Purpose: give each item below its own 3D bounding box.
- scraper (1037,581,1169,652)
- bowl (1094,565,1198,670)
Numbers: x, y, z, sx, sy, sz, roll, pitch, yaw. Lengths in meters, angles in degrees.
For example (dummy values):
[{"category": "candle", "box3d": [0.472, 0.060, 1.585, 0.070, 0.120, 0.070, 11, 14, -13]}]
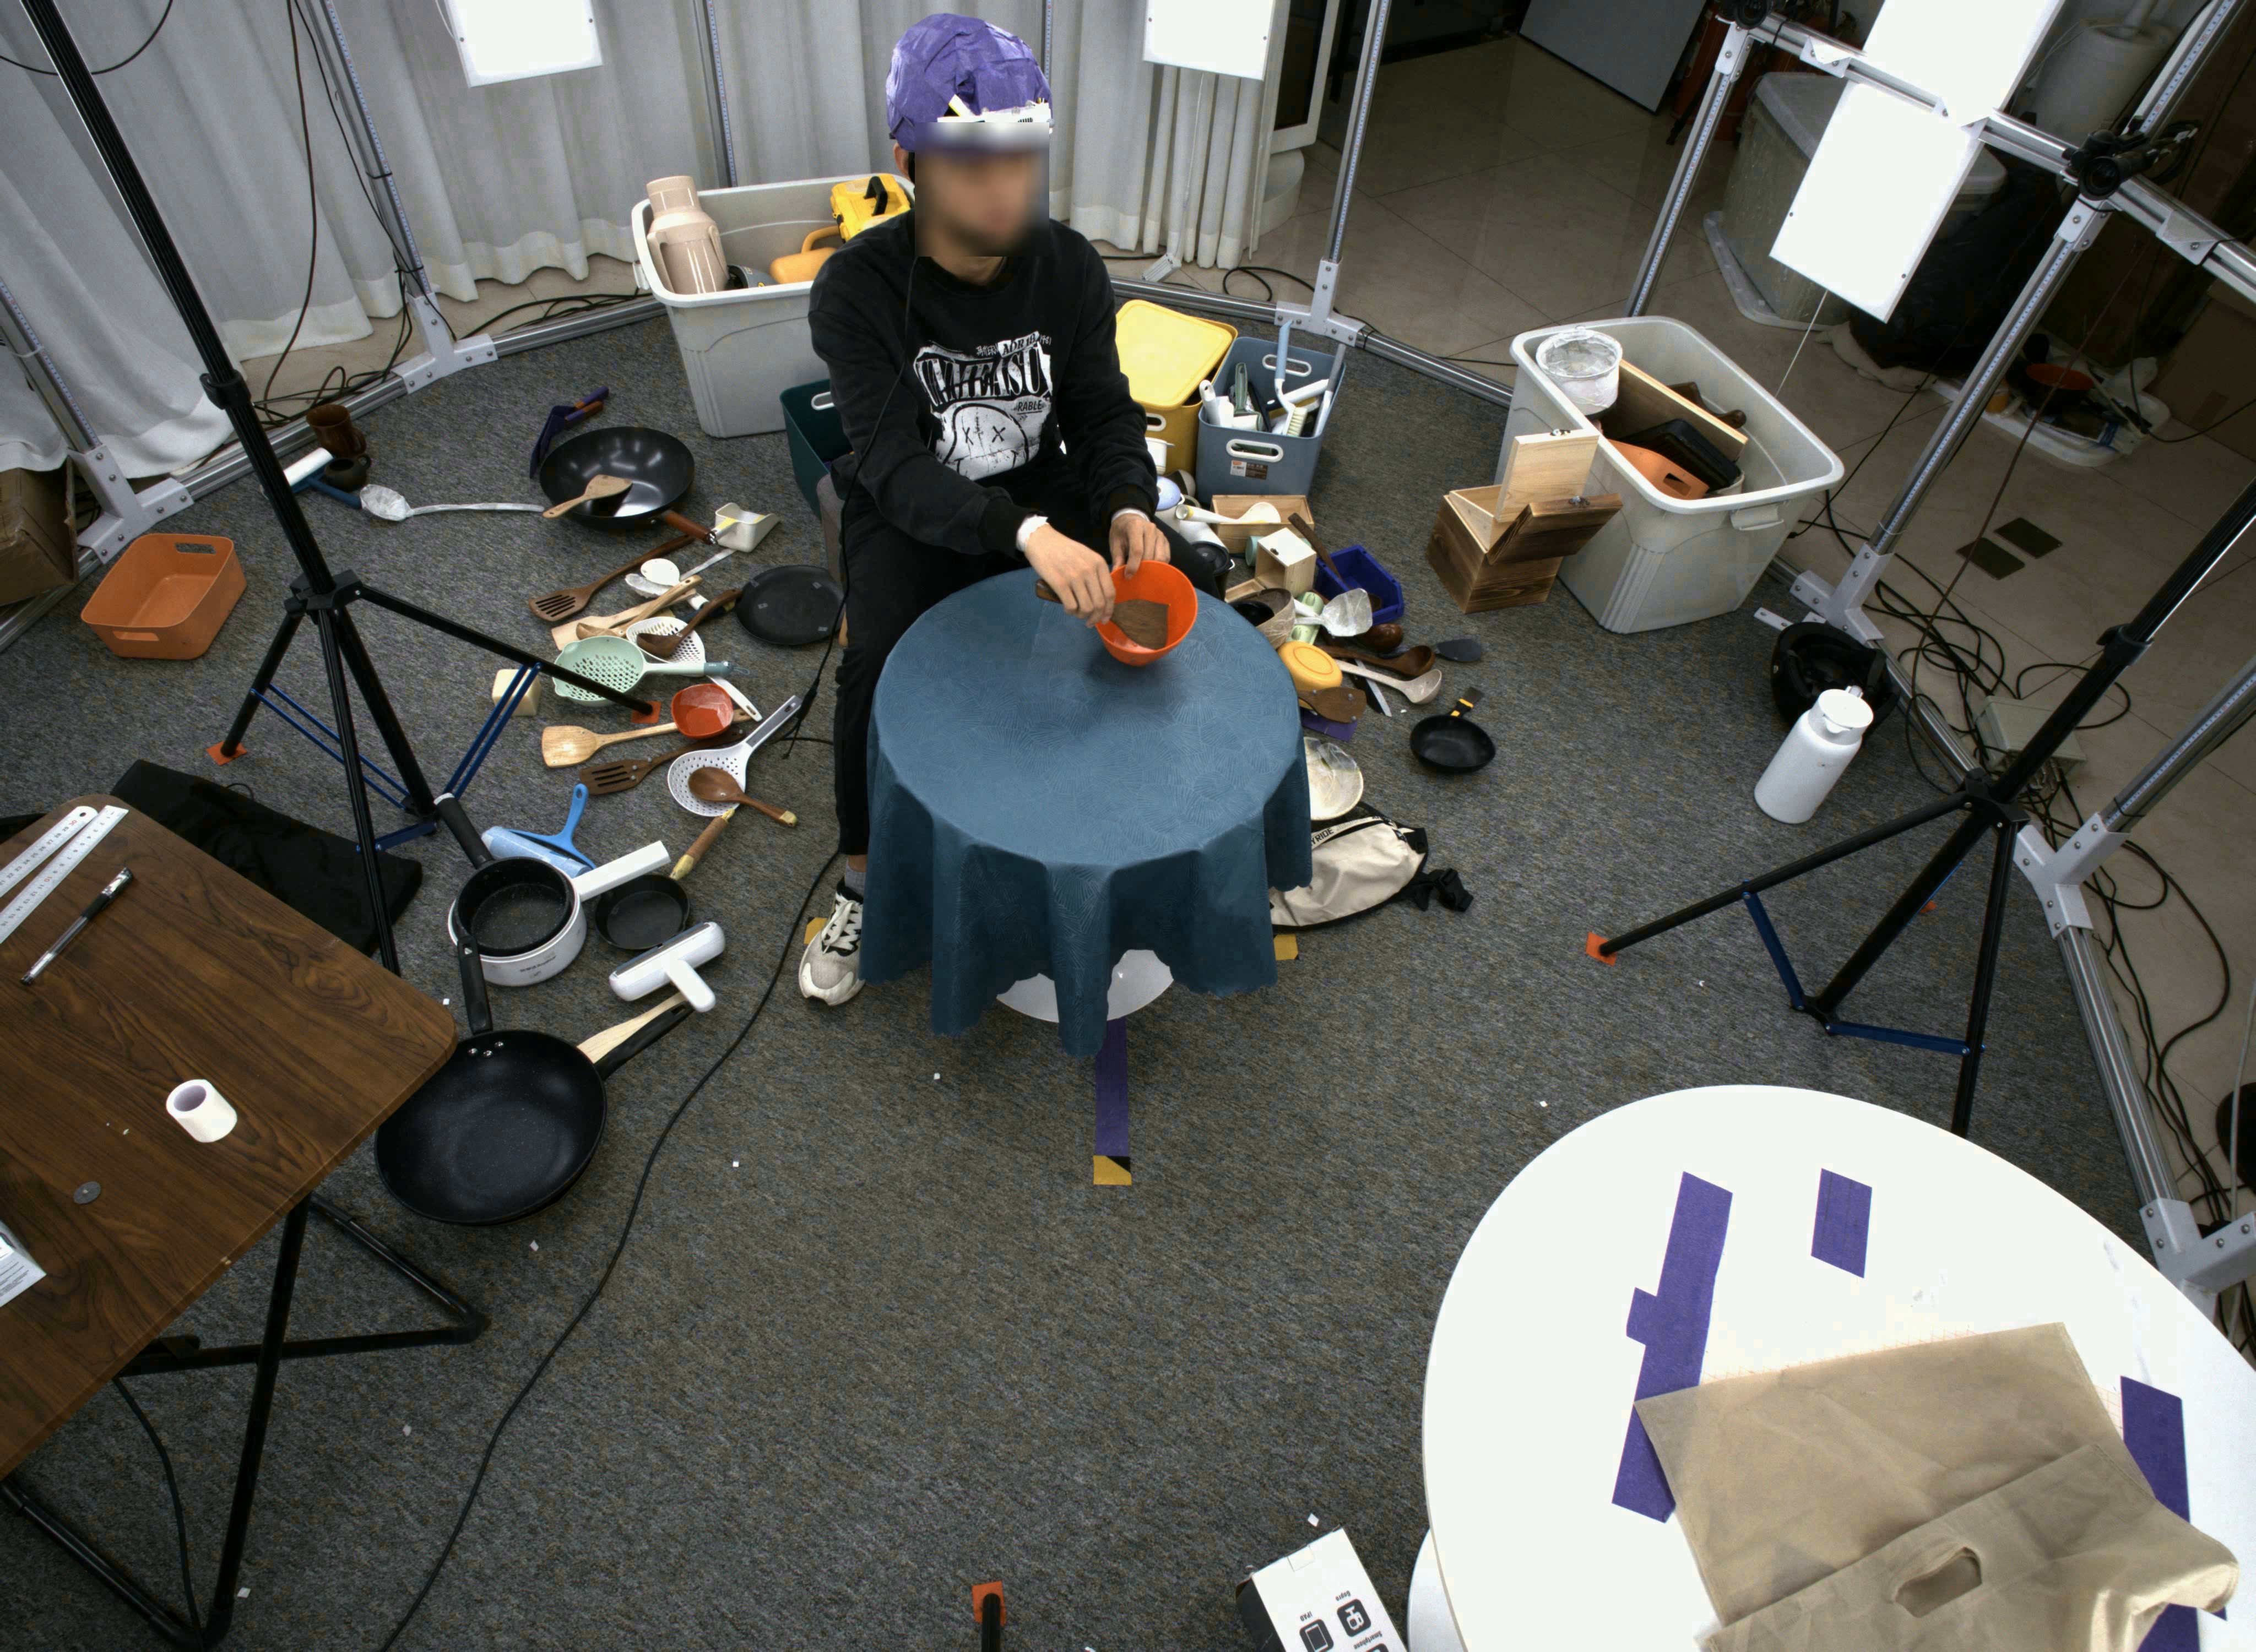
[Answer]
[{"category": "scraper", "box3d": [-0.032, -0.298, 1.779, 0.209, 0.011, 0.077, 13, 65, -29]}, {"category": "bowl", "box3d": [0.023, -0.289, 1.864, 0.148, 0.102, 0.151, 1, 62, -3]}]
